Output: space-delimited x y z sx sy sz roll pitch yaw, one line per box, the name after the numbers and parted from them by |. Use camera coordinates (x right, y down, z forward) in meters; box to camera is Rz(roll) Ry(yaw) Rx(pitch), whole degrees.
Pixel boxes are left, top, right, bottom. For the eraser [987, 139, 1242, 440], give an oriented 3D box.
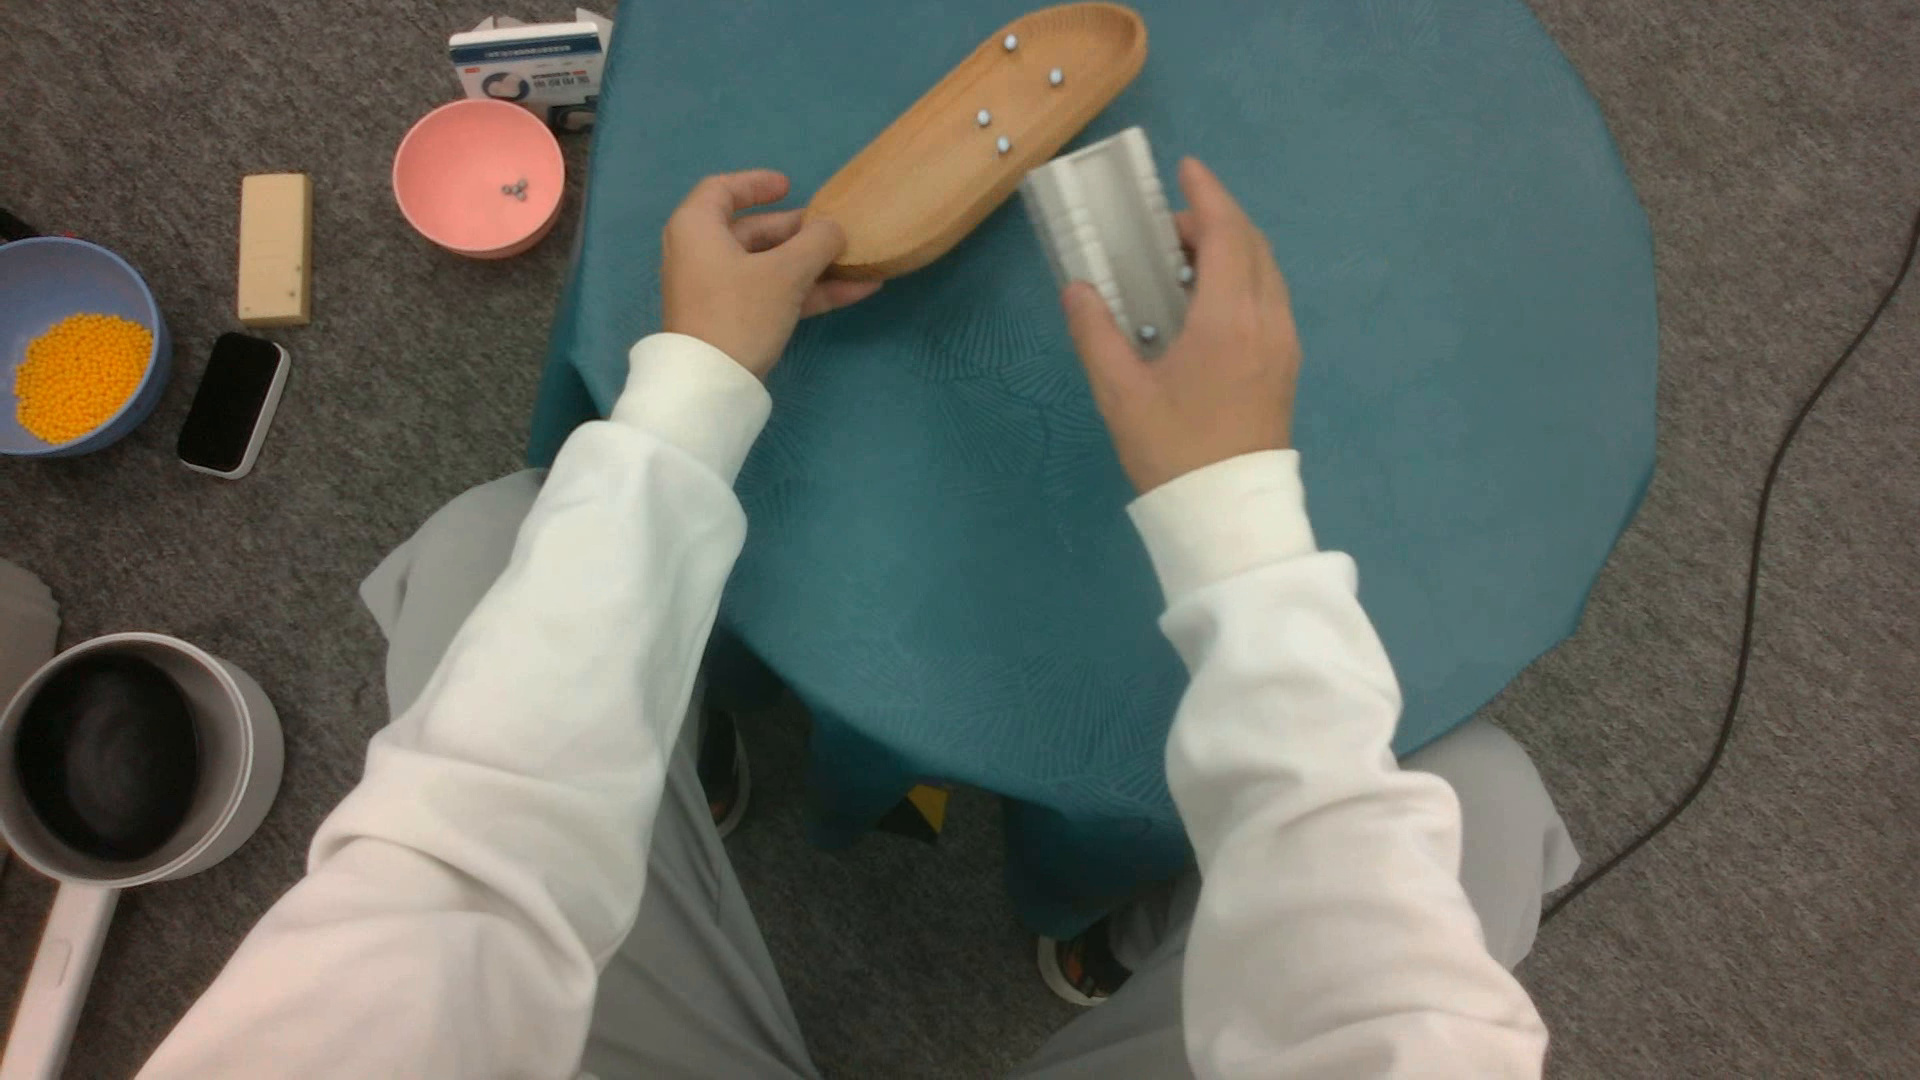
0.072 -0.116 0.652 0.050 0.046 0.134 -35 96 -9 | eraser

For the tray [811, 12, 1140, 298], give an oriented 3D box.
0.011 -0.210 0.739 0.101 0.020 0.232 21 64 43 | tray
